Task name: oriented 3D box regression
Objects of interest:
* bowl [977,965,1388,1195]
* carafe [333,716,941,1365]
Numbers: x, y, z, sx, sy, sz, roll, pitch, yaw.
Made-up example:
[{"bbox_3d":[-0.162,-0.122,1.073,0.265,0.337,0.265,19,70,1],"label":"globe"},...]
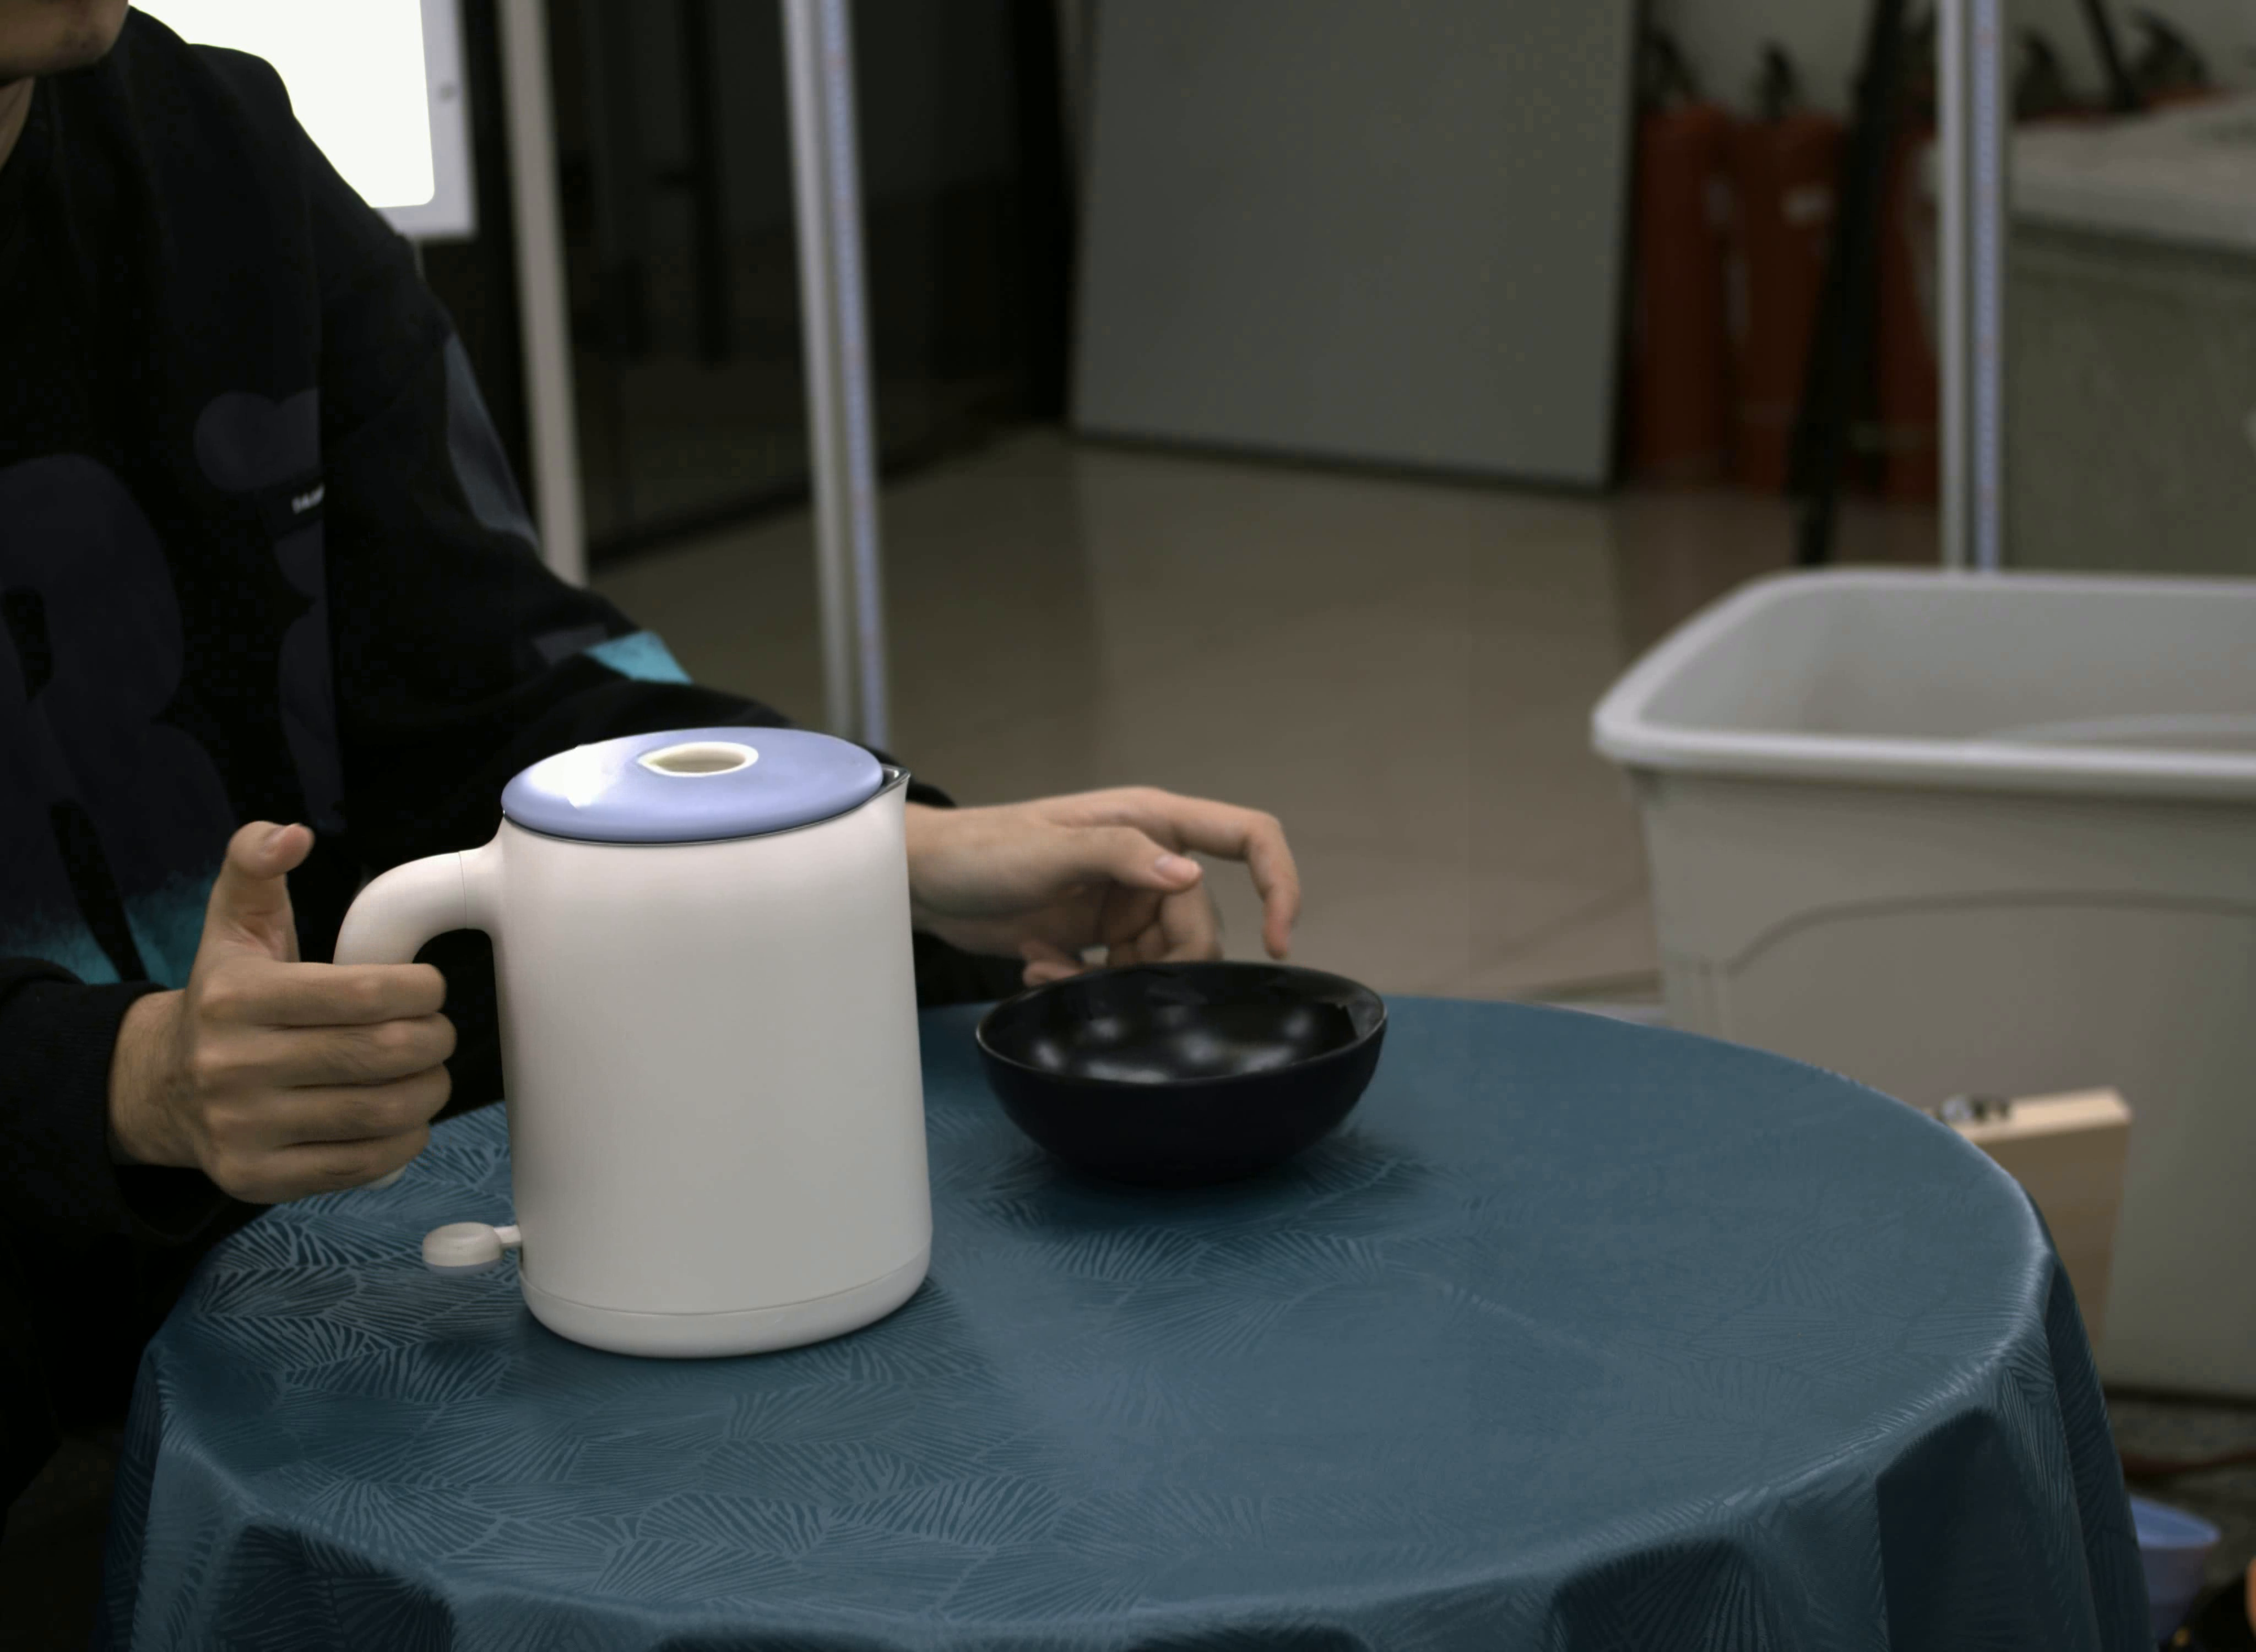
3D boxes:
[{"bbox_3d":[0.020,0.089,1.797,0.138,0.050,0.140,-6,13,0],"label":"bowl"},{"bbox_3d":[-0.152,0.069,1.670,0.187,0.184,0.133,-9,13,-11],"label":"carafe"}]
